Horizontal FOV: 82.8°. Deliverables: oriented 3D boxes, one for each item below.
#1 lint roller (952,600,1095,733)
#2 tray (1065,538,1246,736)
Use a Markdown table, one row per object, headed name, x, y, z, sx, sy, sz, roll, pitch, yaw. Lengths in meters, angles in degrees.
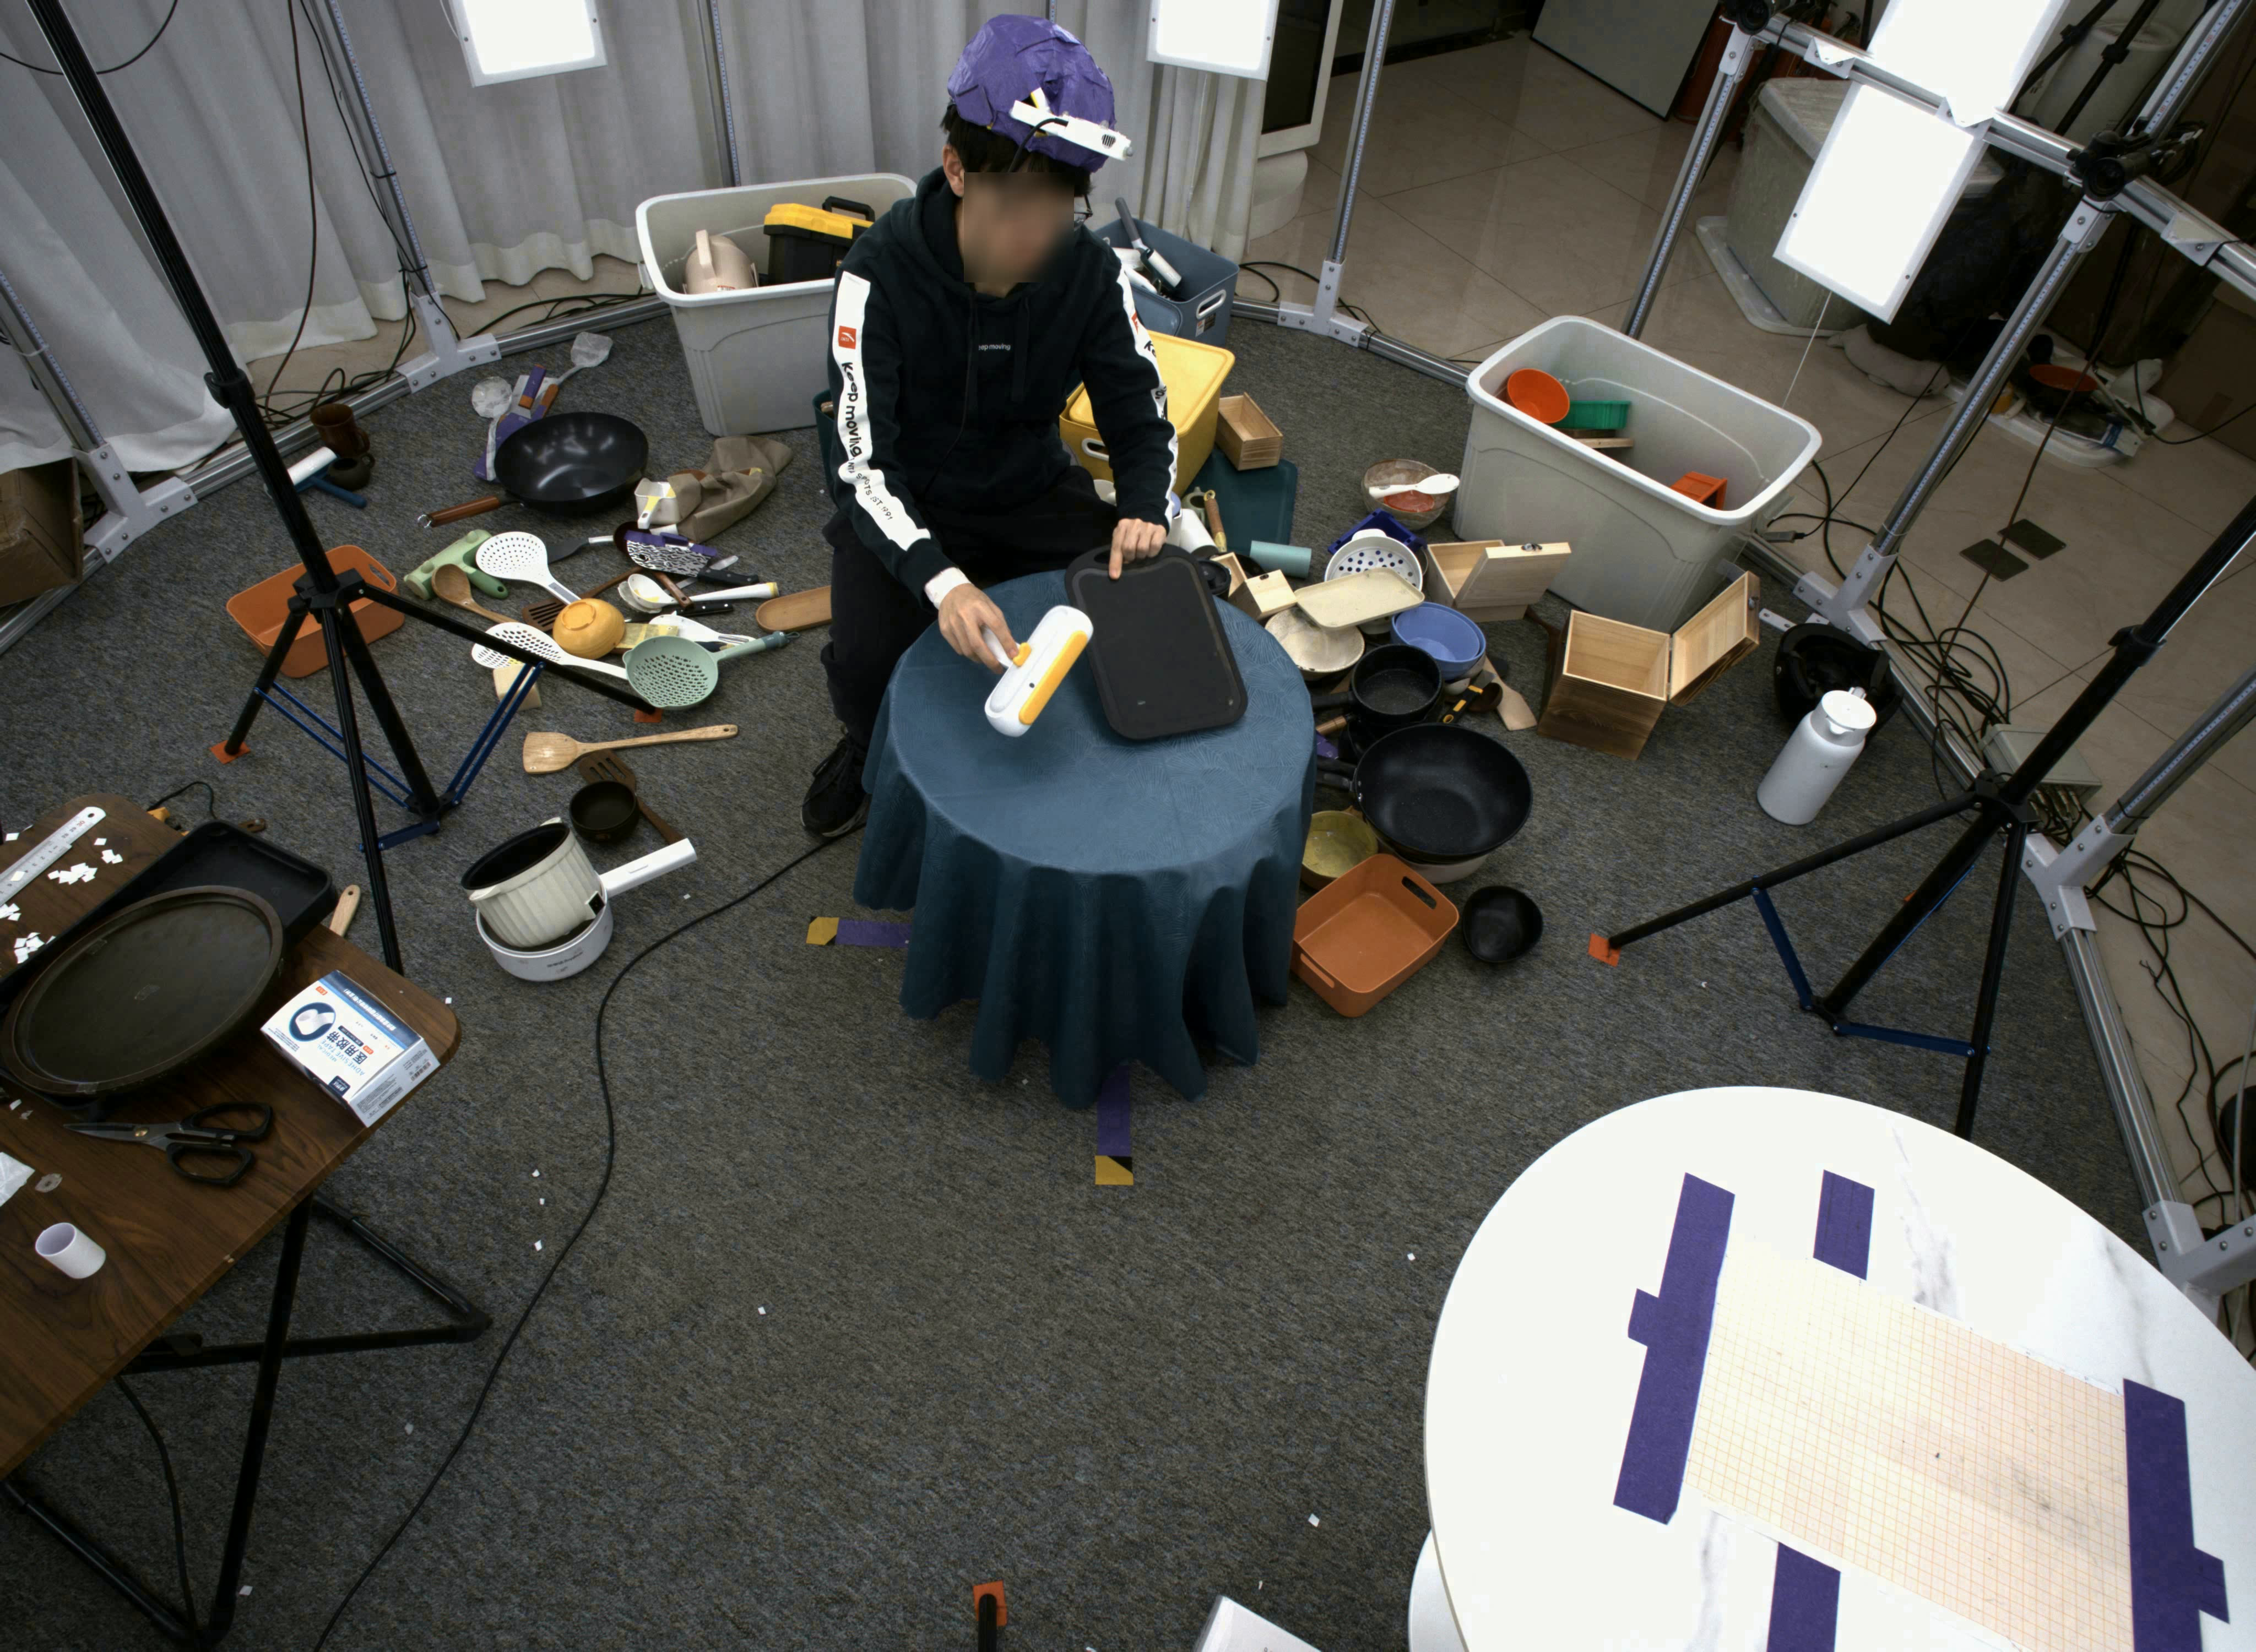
| name | x | y | z | sx | sy | sz | roll | pitch | yaw |
| --- | --- | --- | --- | --- | --- | --- | --- | --- | --- |
| lint roller | -0.159 | -0.234 | 1.739 | 0.195 | 0.073 | 0.193 | 25 | 83 | 41 |
| tray | 0.035 | -0.279 | 1.832 | 0.211 | 0.009 | 0.331 | -10 | 65 | -14 |
